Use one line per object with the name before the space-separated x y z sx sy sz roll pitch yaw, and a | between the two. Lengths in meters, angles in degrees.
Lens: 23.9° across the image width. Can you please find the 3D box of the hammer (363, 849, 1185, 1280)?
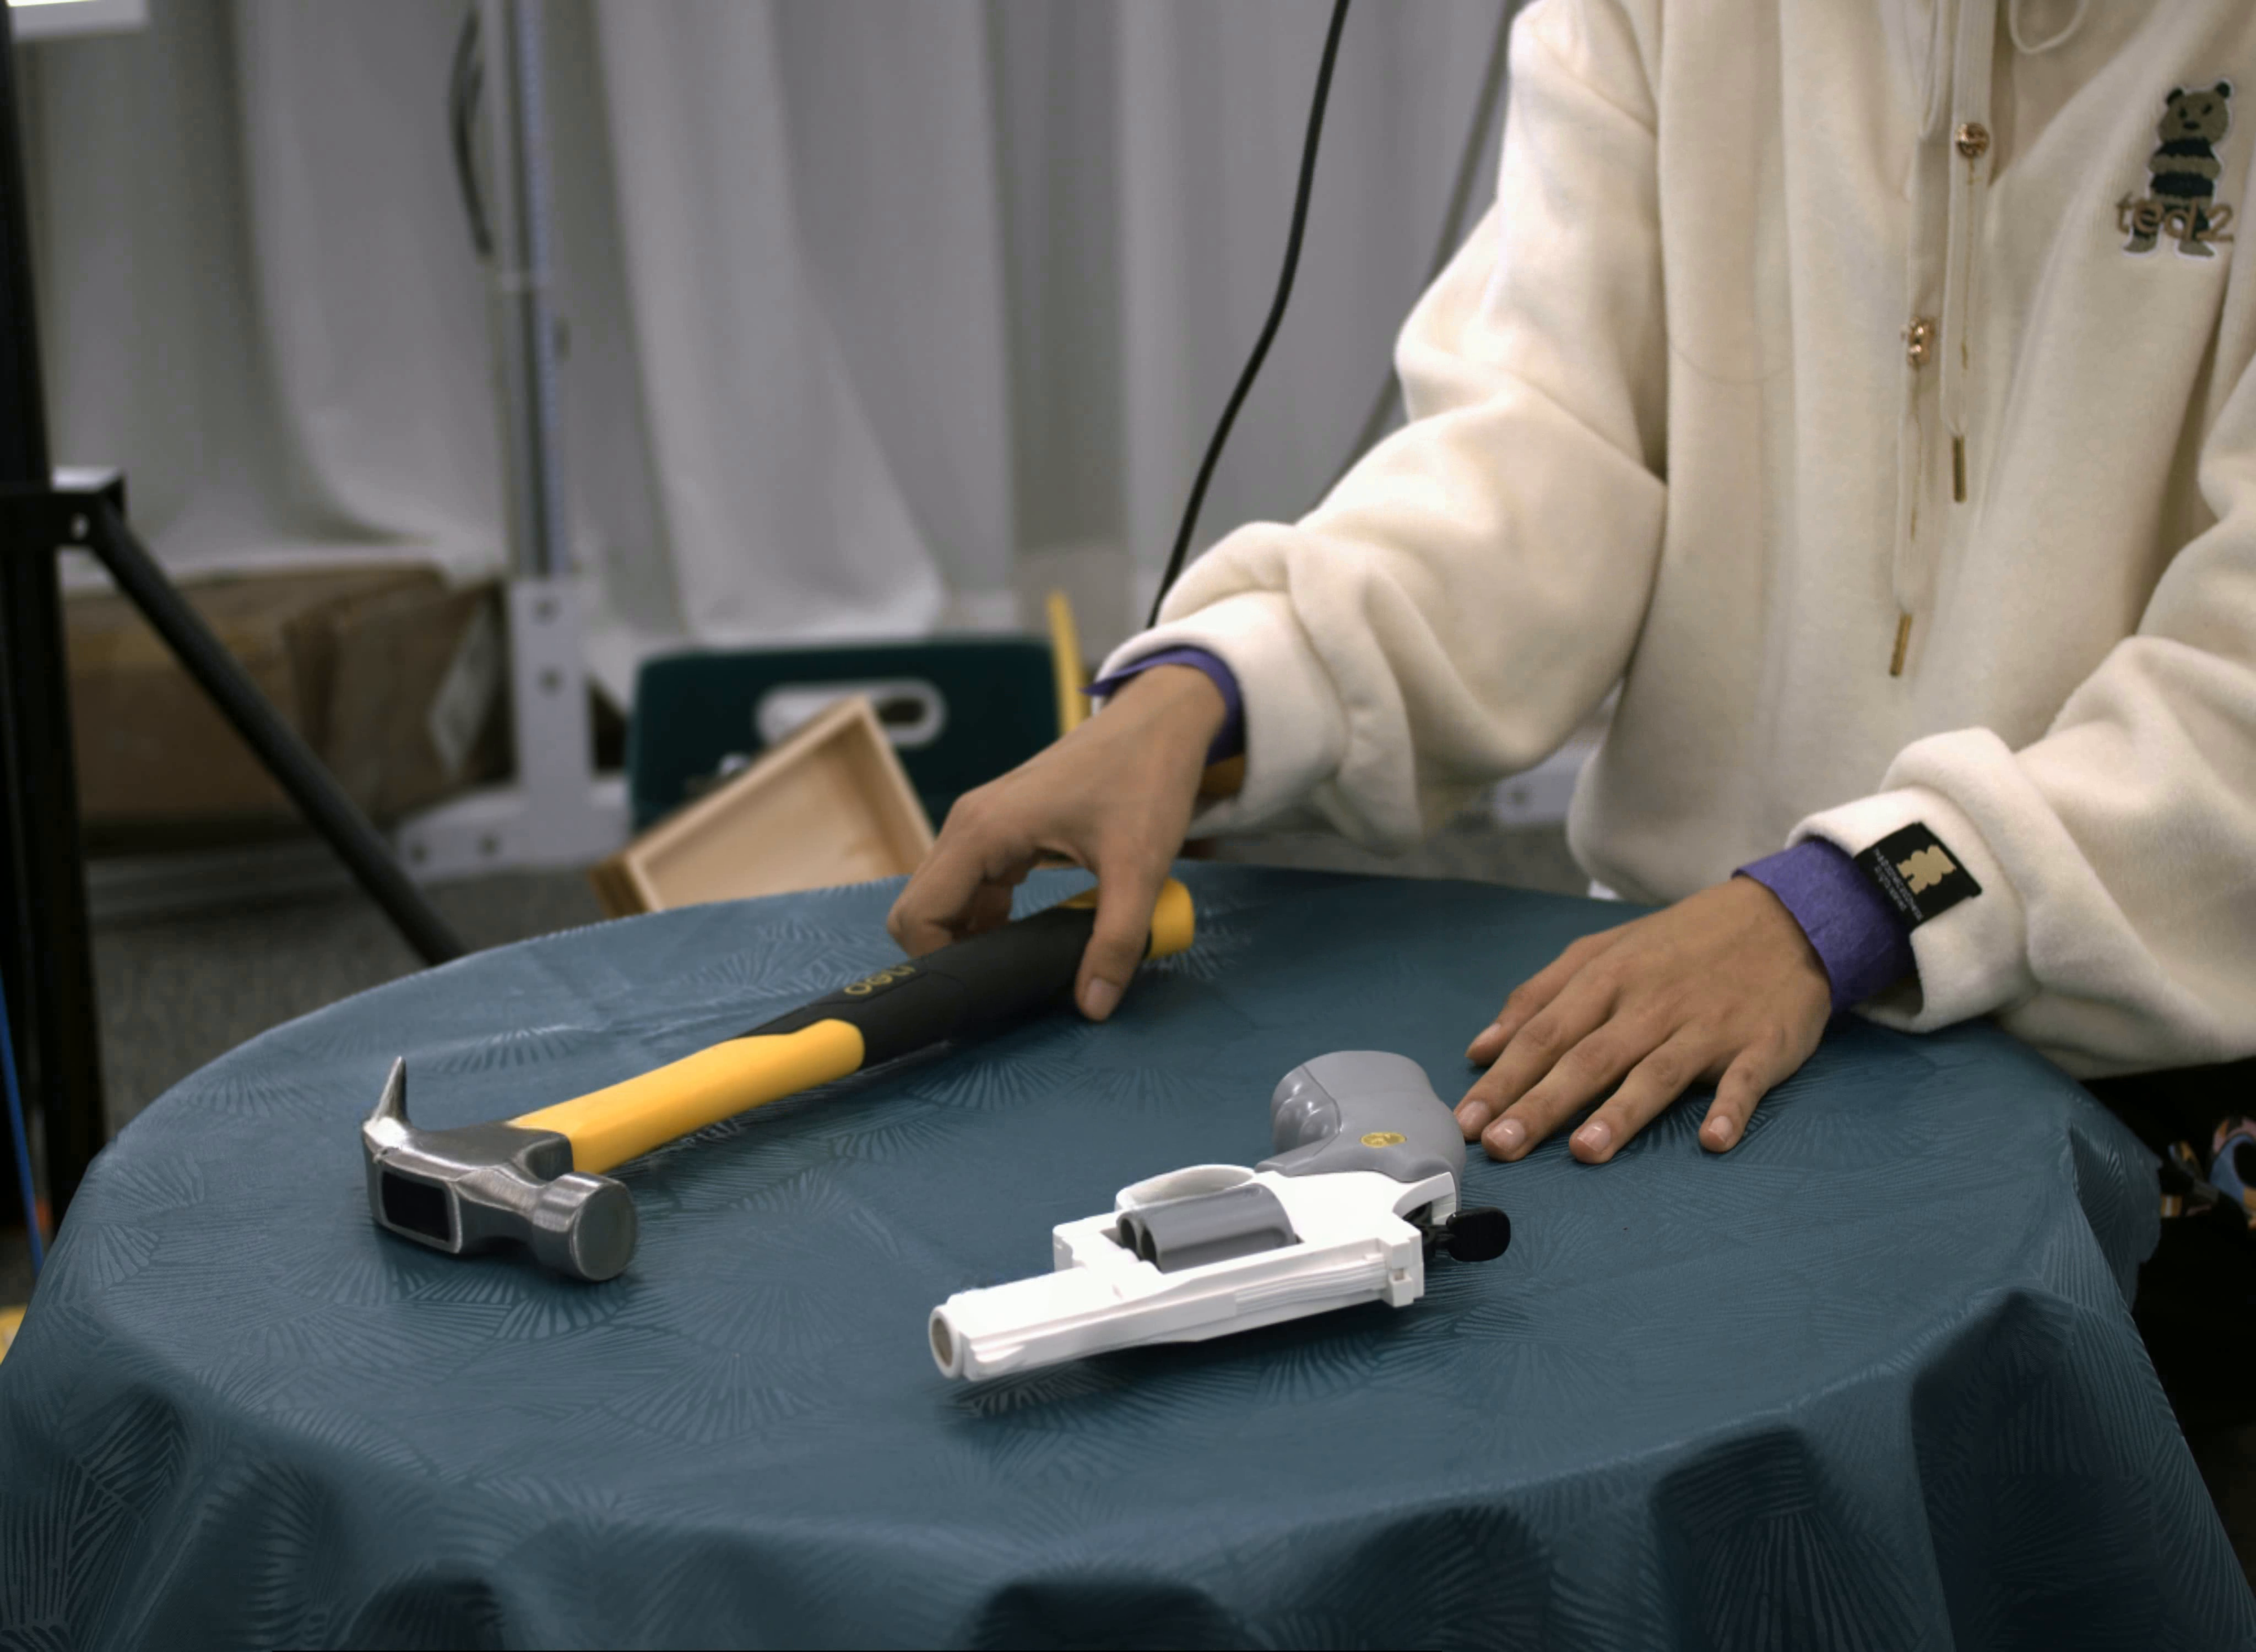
hammer | -0.098 0.064 1.652 0.134 0.032 0.331 9 22 40

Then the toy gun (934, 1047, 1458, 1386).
toy gun | 0.022 0.109 1.477 0.205 0.039 0.144 -10 18 -25
